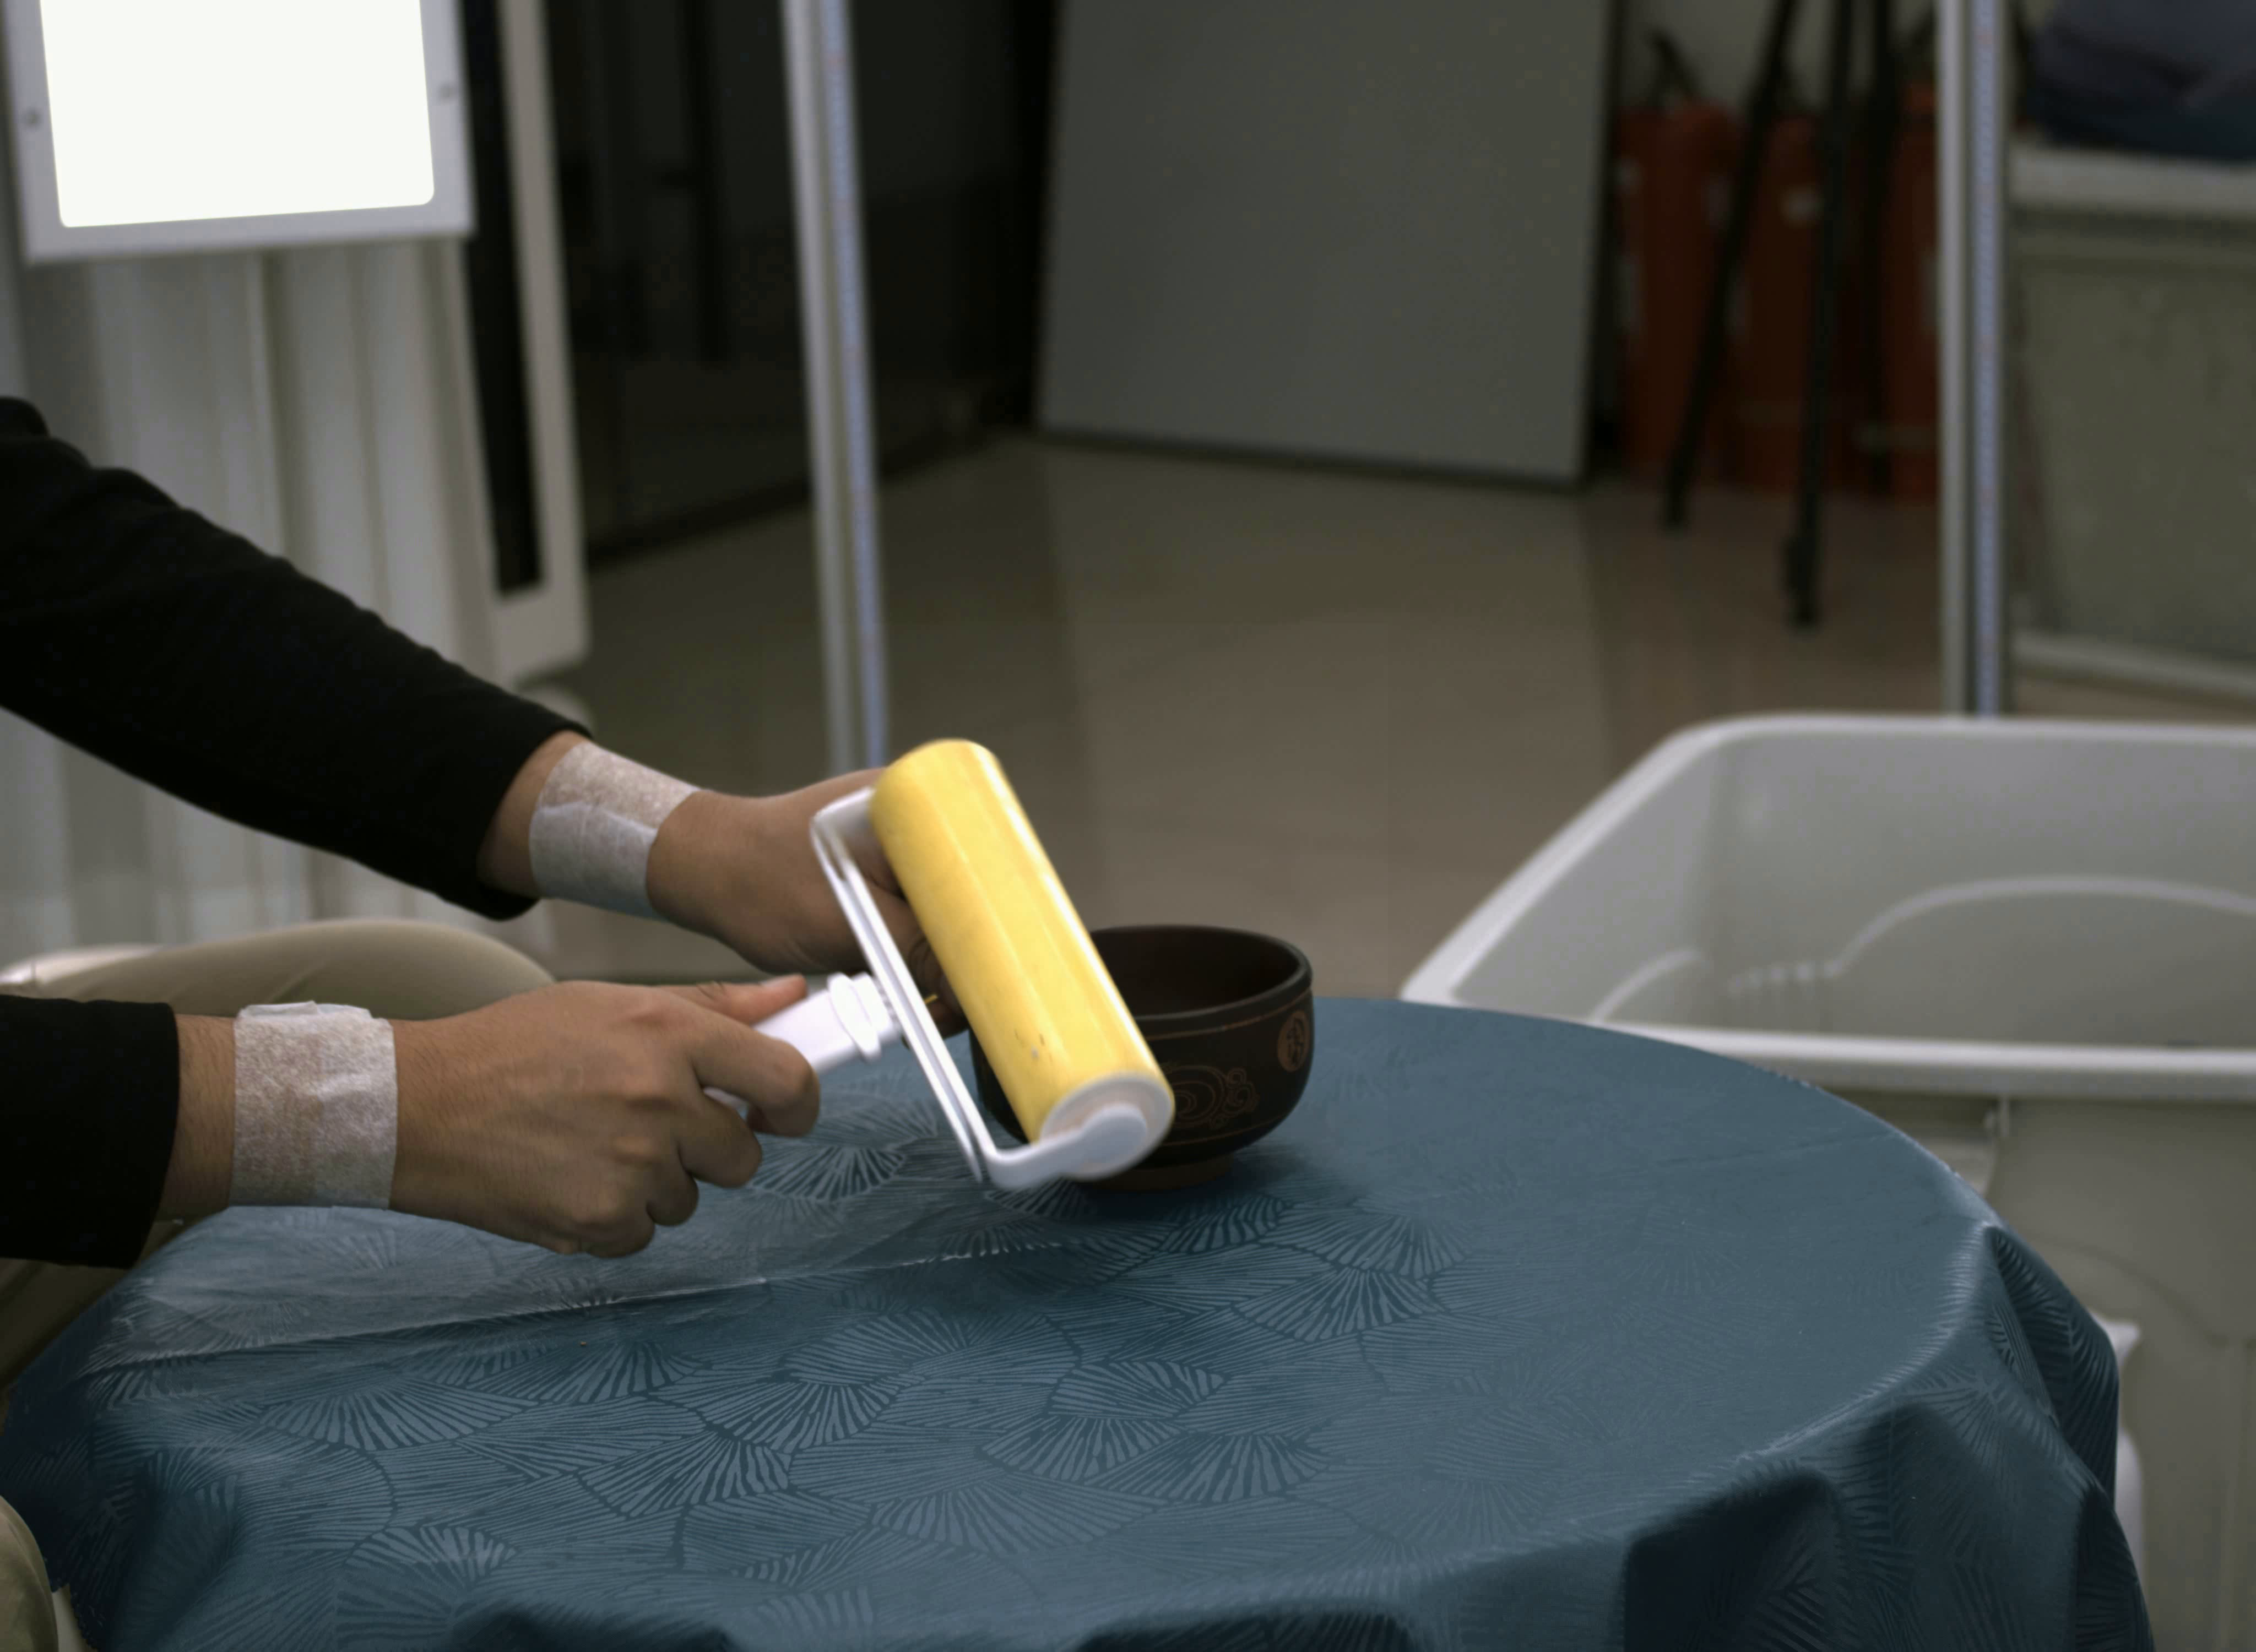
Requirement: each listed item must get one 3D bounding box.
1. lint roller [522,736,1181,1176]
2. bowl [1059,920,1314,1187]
[{"bbox_3d":[-0.101,0.061,1.702,0.188,0.051,0.176,-17,45,-16],"label":"lint roller"},{"bbox_3d":[0.004,0.078,1.785,0.116,0.070,0.118,-3,12,0],"label":"bowl"}]
